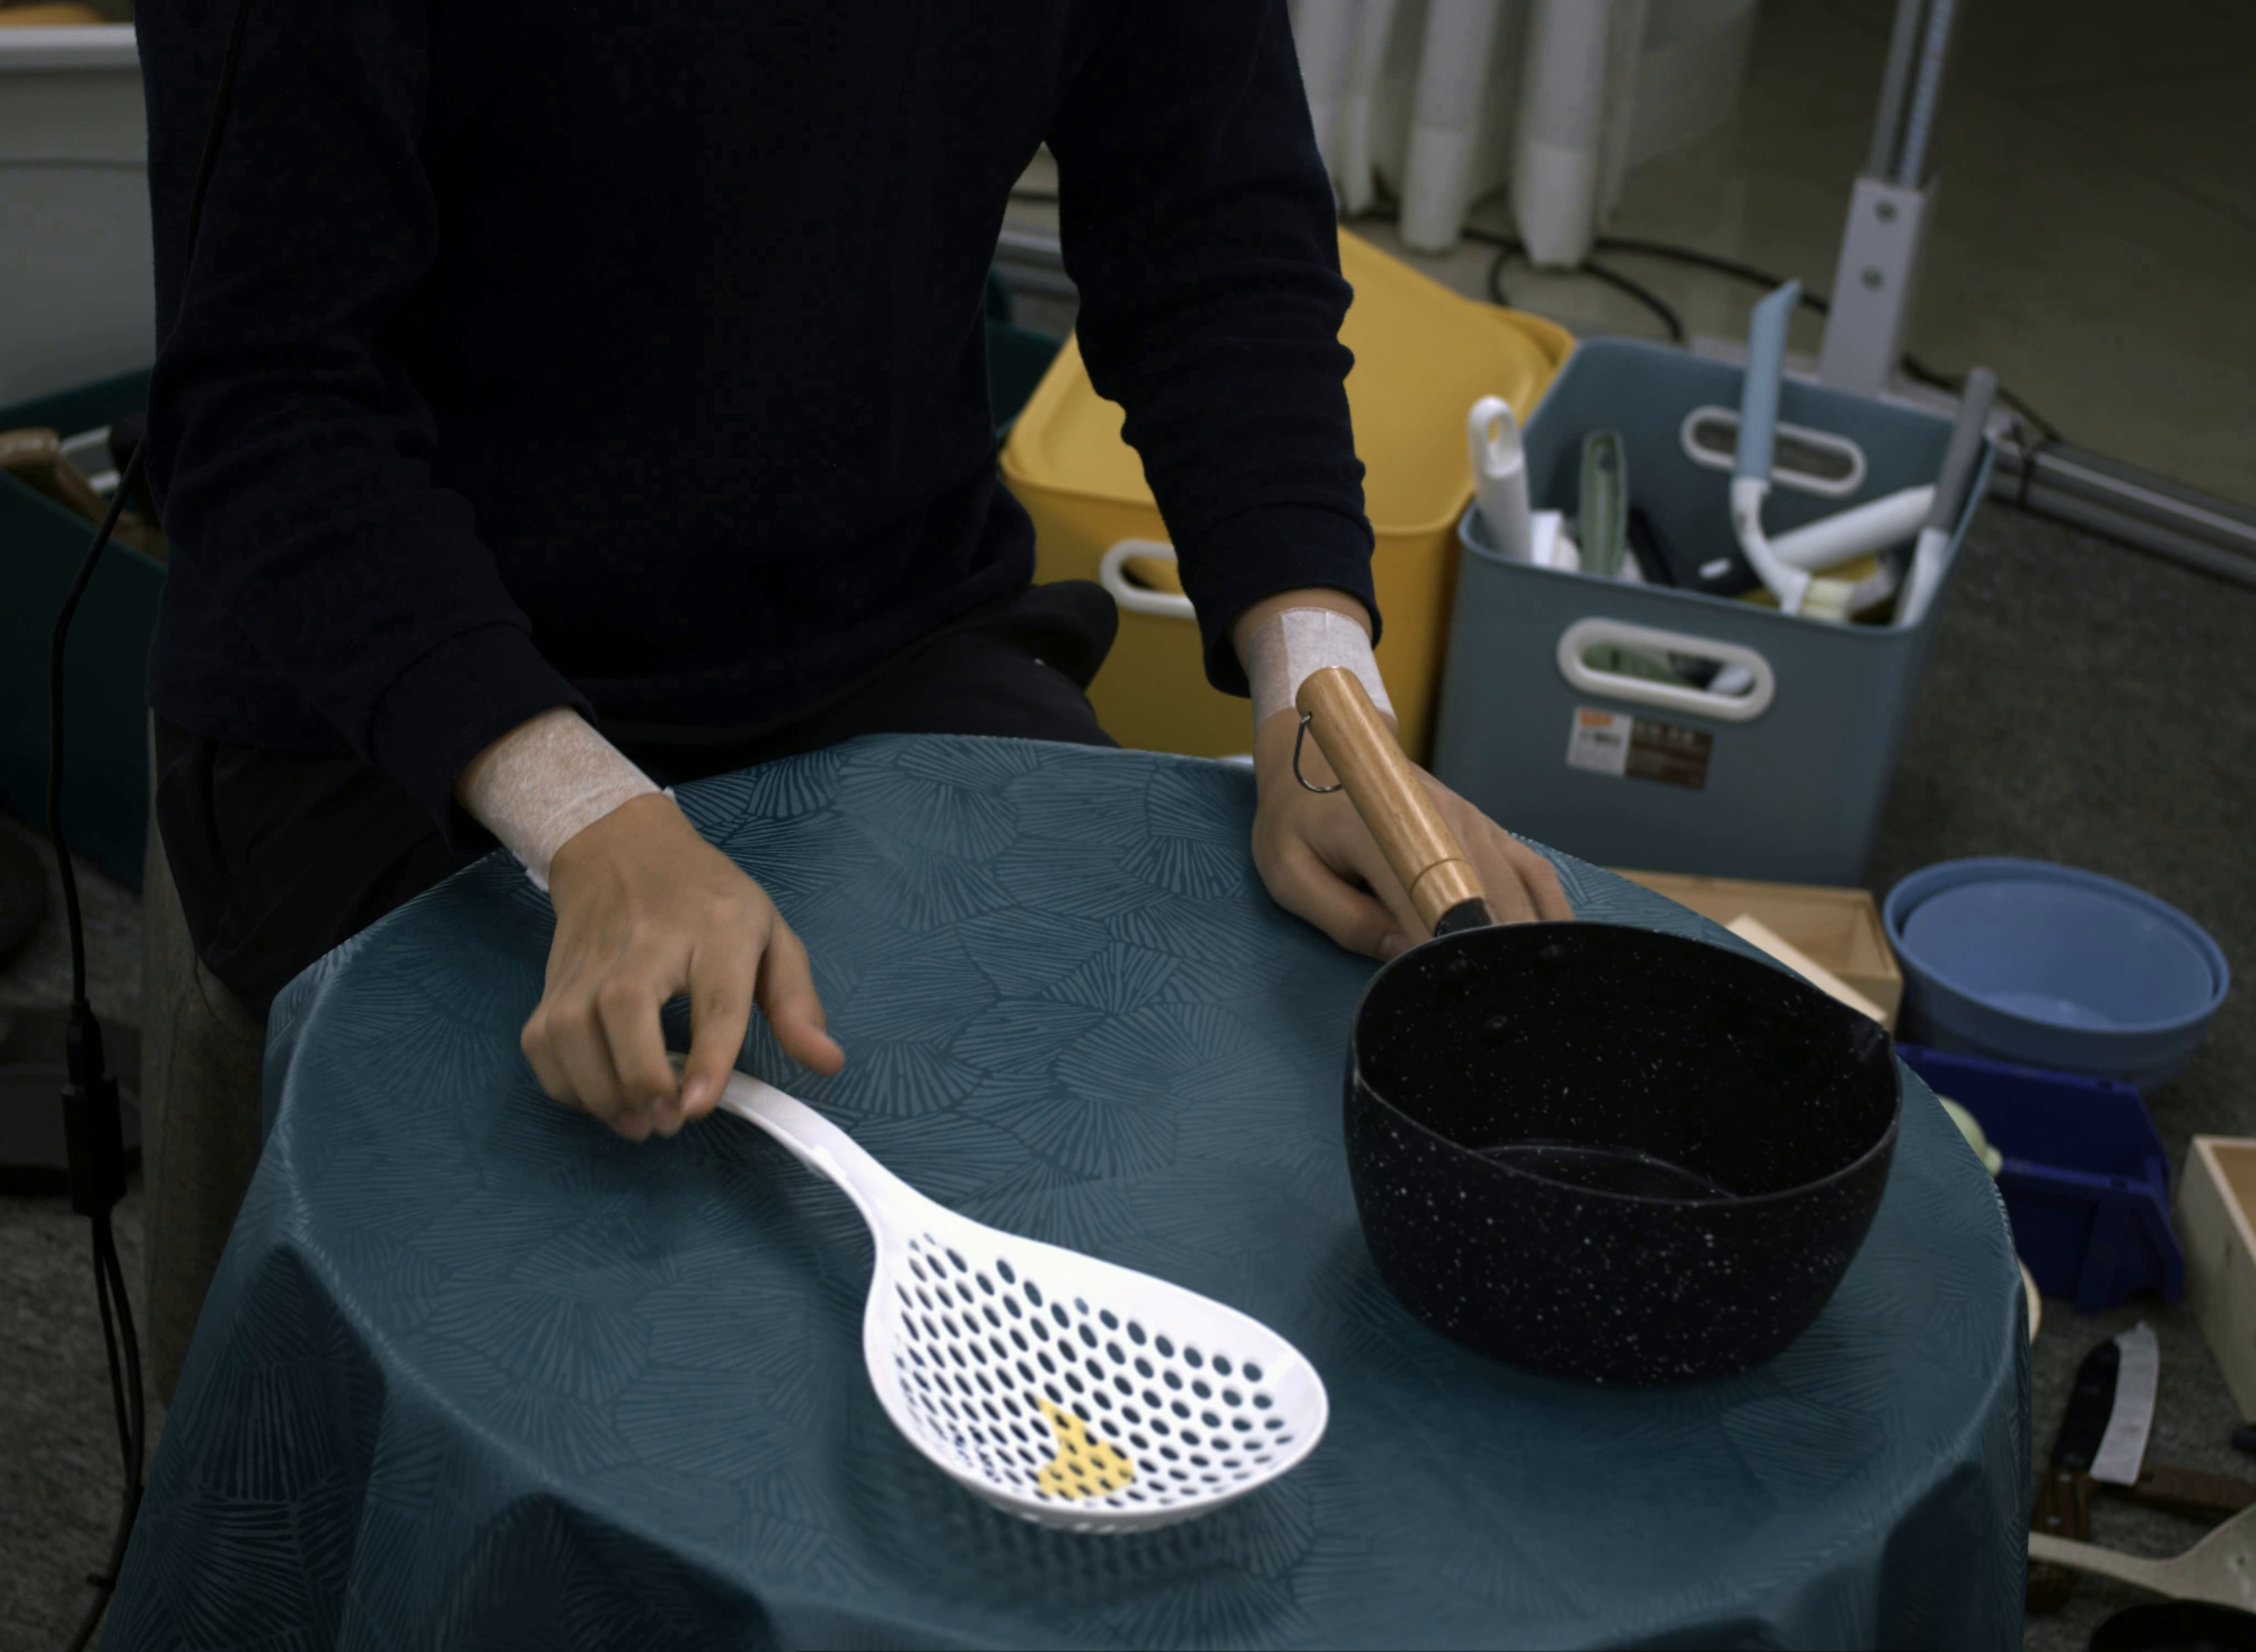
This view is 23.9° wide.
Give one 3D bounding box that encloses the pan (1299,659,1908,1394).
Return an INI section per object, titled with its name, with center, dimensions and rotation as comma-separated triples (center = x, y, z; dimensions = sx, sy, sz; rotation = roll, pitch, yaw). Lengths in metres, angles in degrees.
[pan]
center = 0.130, 0.065, 1.827
dimensions = 0.206, 0.108, 0.346
rotation = -7, 31, -23

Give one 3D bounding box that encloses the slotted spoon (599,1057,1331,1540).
[slotted spoon]
center = -0.071, 0.139, 1.710
dimensions = 0.136, 0.050, 0.351
rotation = -15, 35, -32
